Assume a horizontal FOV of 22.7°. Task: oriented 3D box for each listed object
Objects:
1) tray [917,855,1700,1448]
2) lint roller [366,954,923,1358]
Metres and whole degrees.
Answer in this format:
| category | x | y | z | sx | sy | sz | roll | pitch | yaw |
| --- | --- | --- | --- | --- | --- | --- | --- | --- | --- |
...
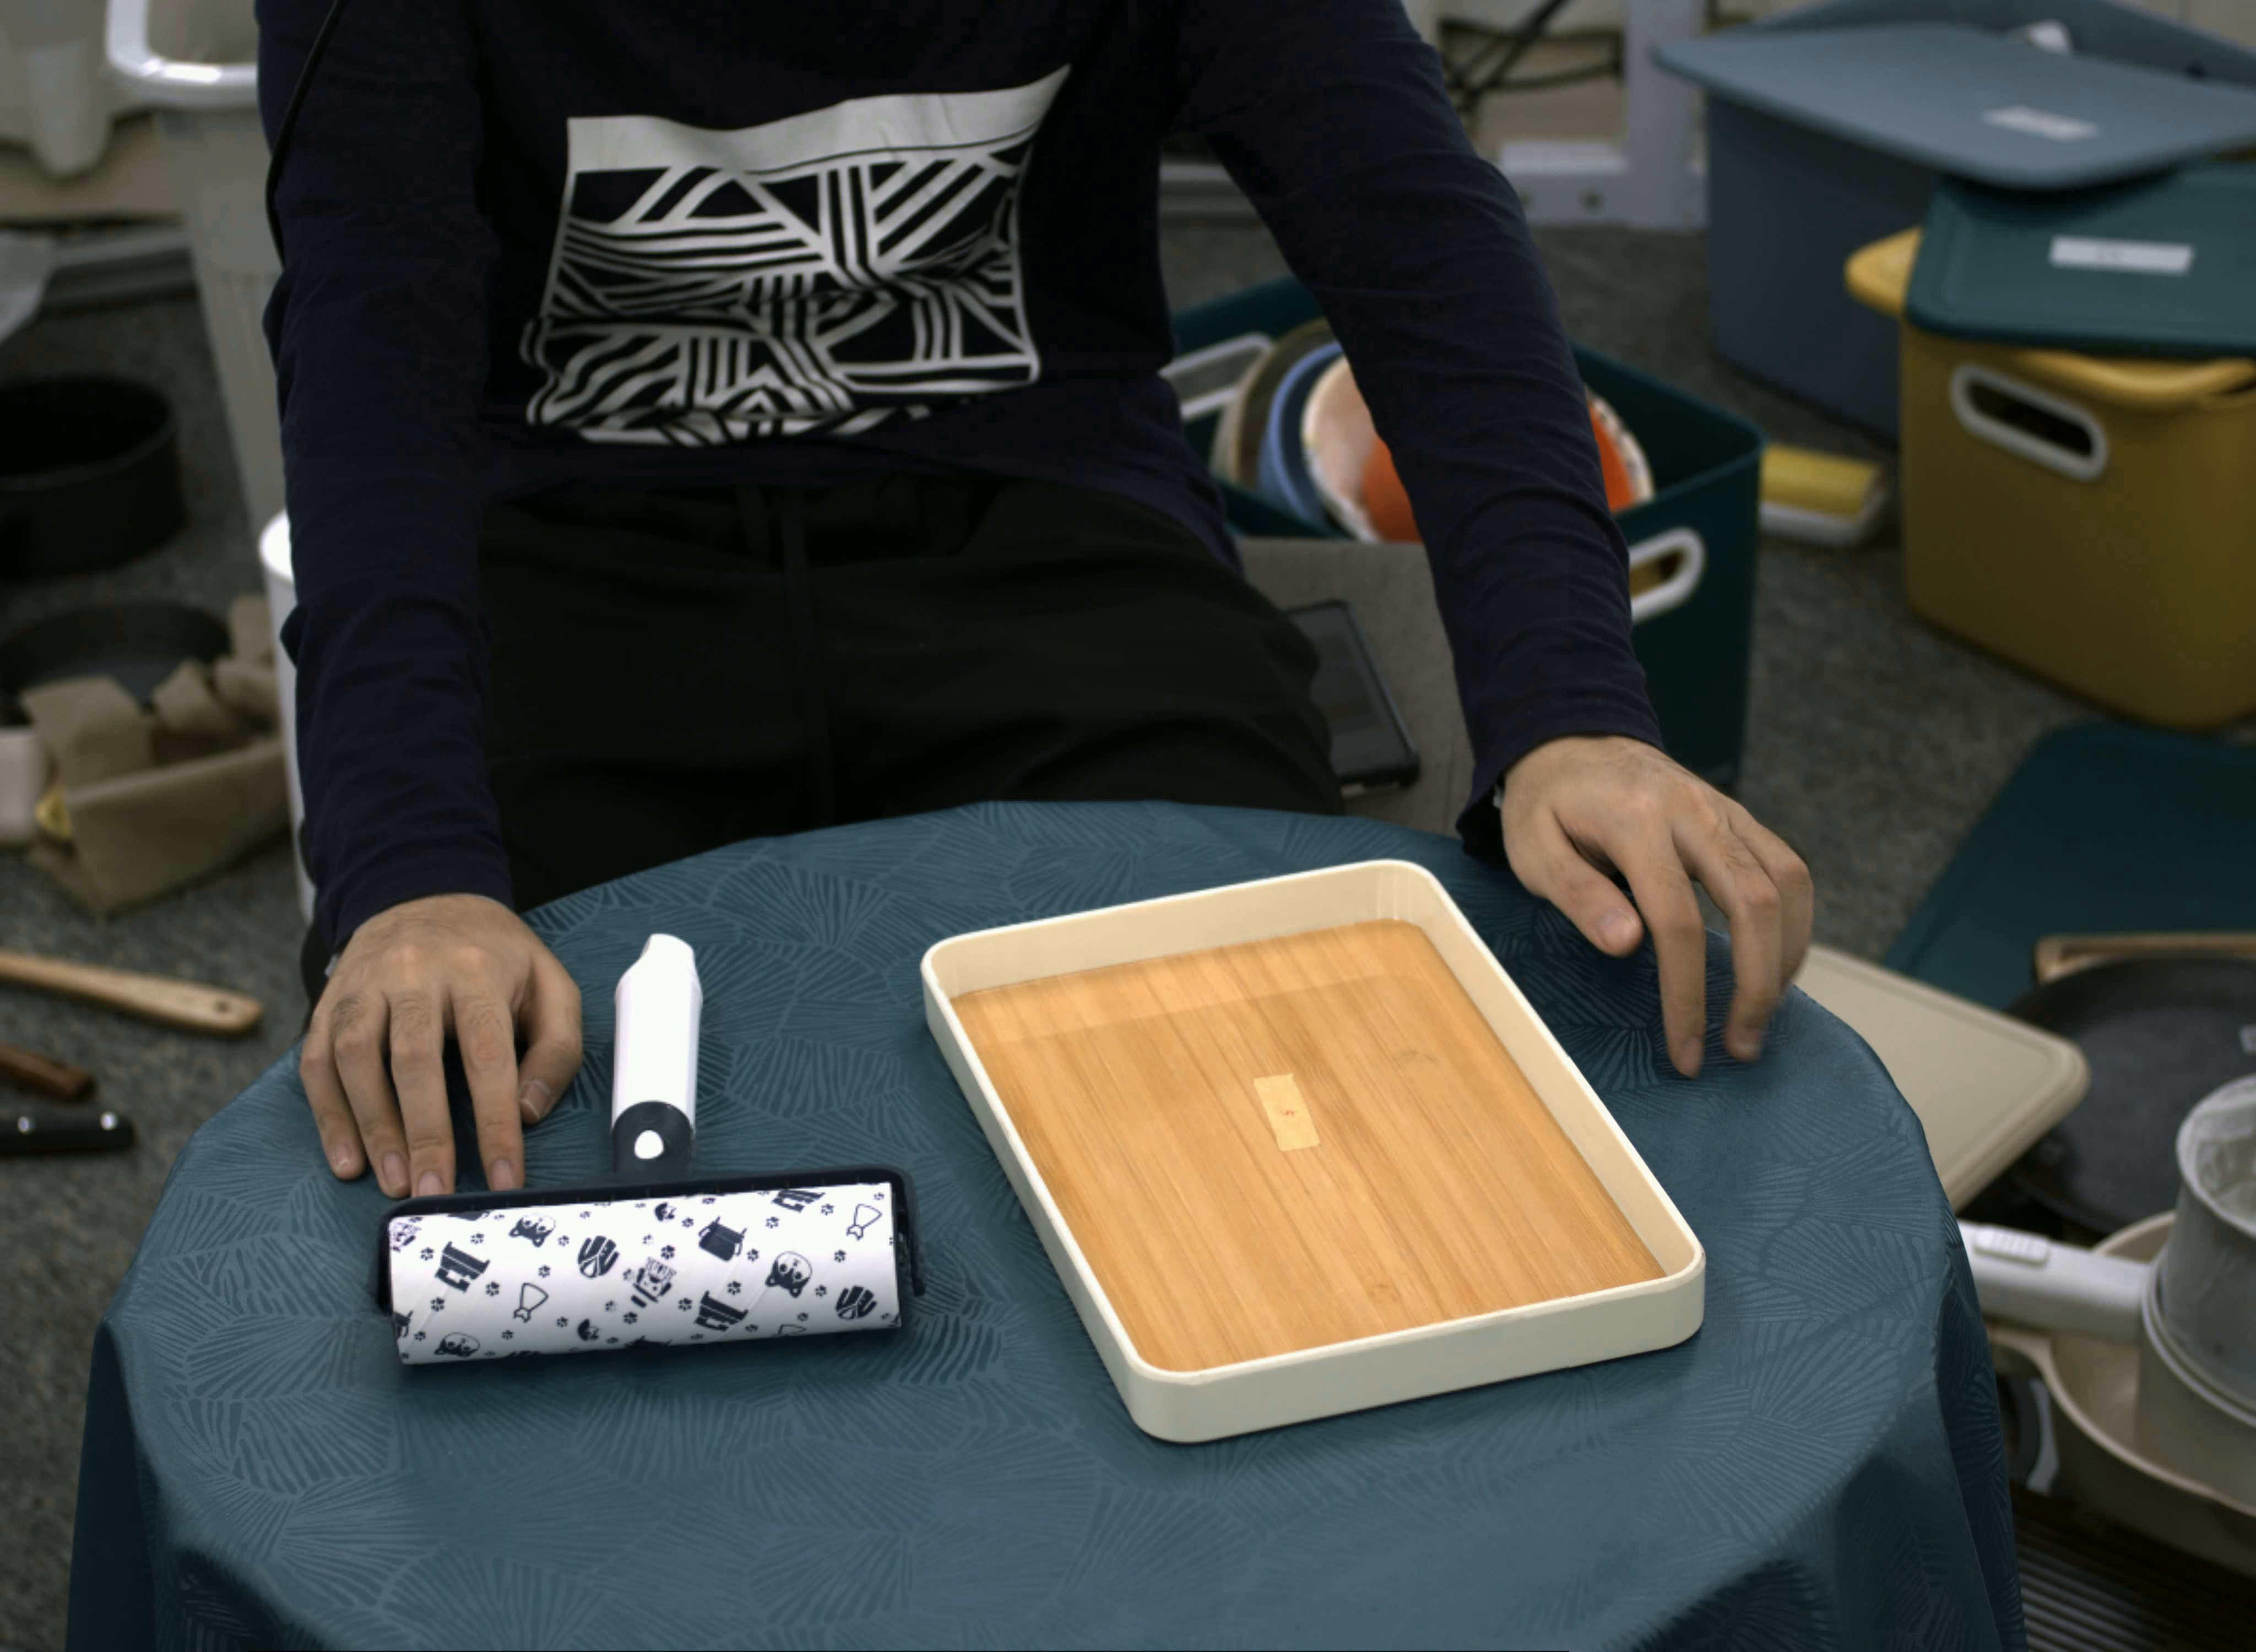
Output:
| category | x | y | z | sx | sy | sz | roll | pitch | yaw |
| --- | --- | --- | --- | --- | --- | --- | --- | --- | --- |
| tray | 0.053 | 0.102 | 1.865 | 0.191 | 0.027 | 0.303 | -10 | 28 | -12 |
| lint roller | -0.161 | 0.098 | 1.877 | 0.175 | 0.050 | 0.250 | -5 | 25 | -3 |
